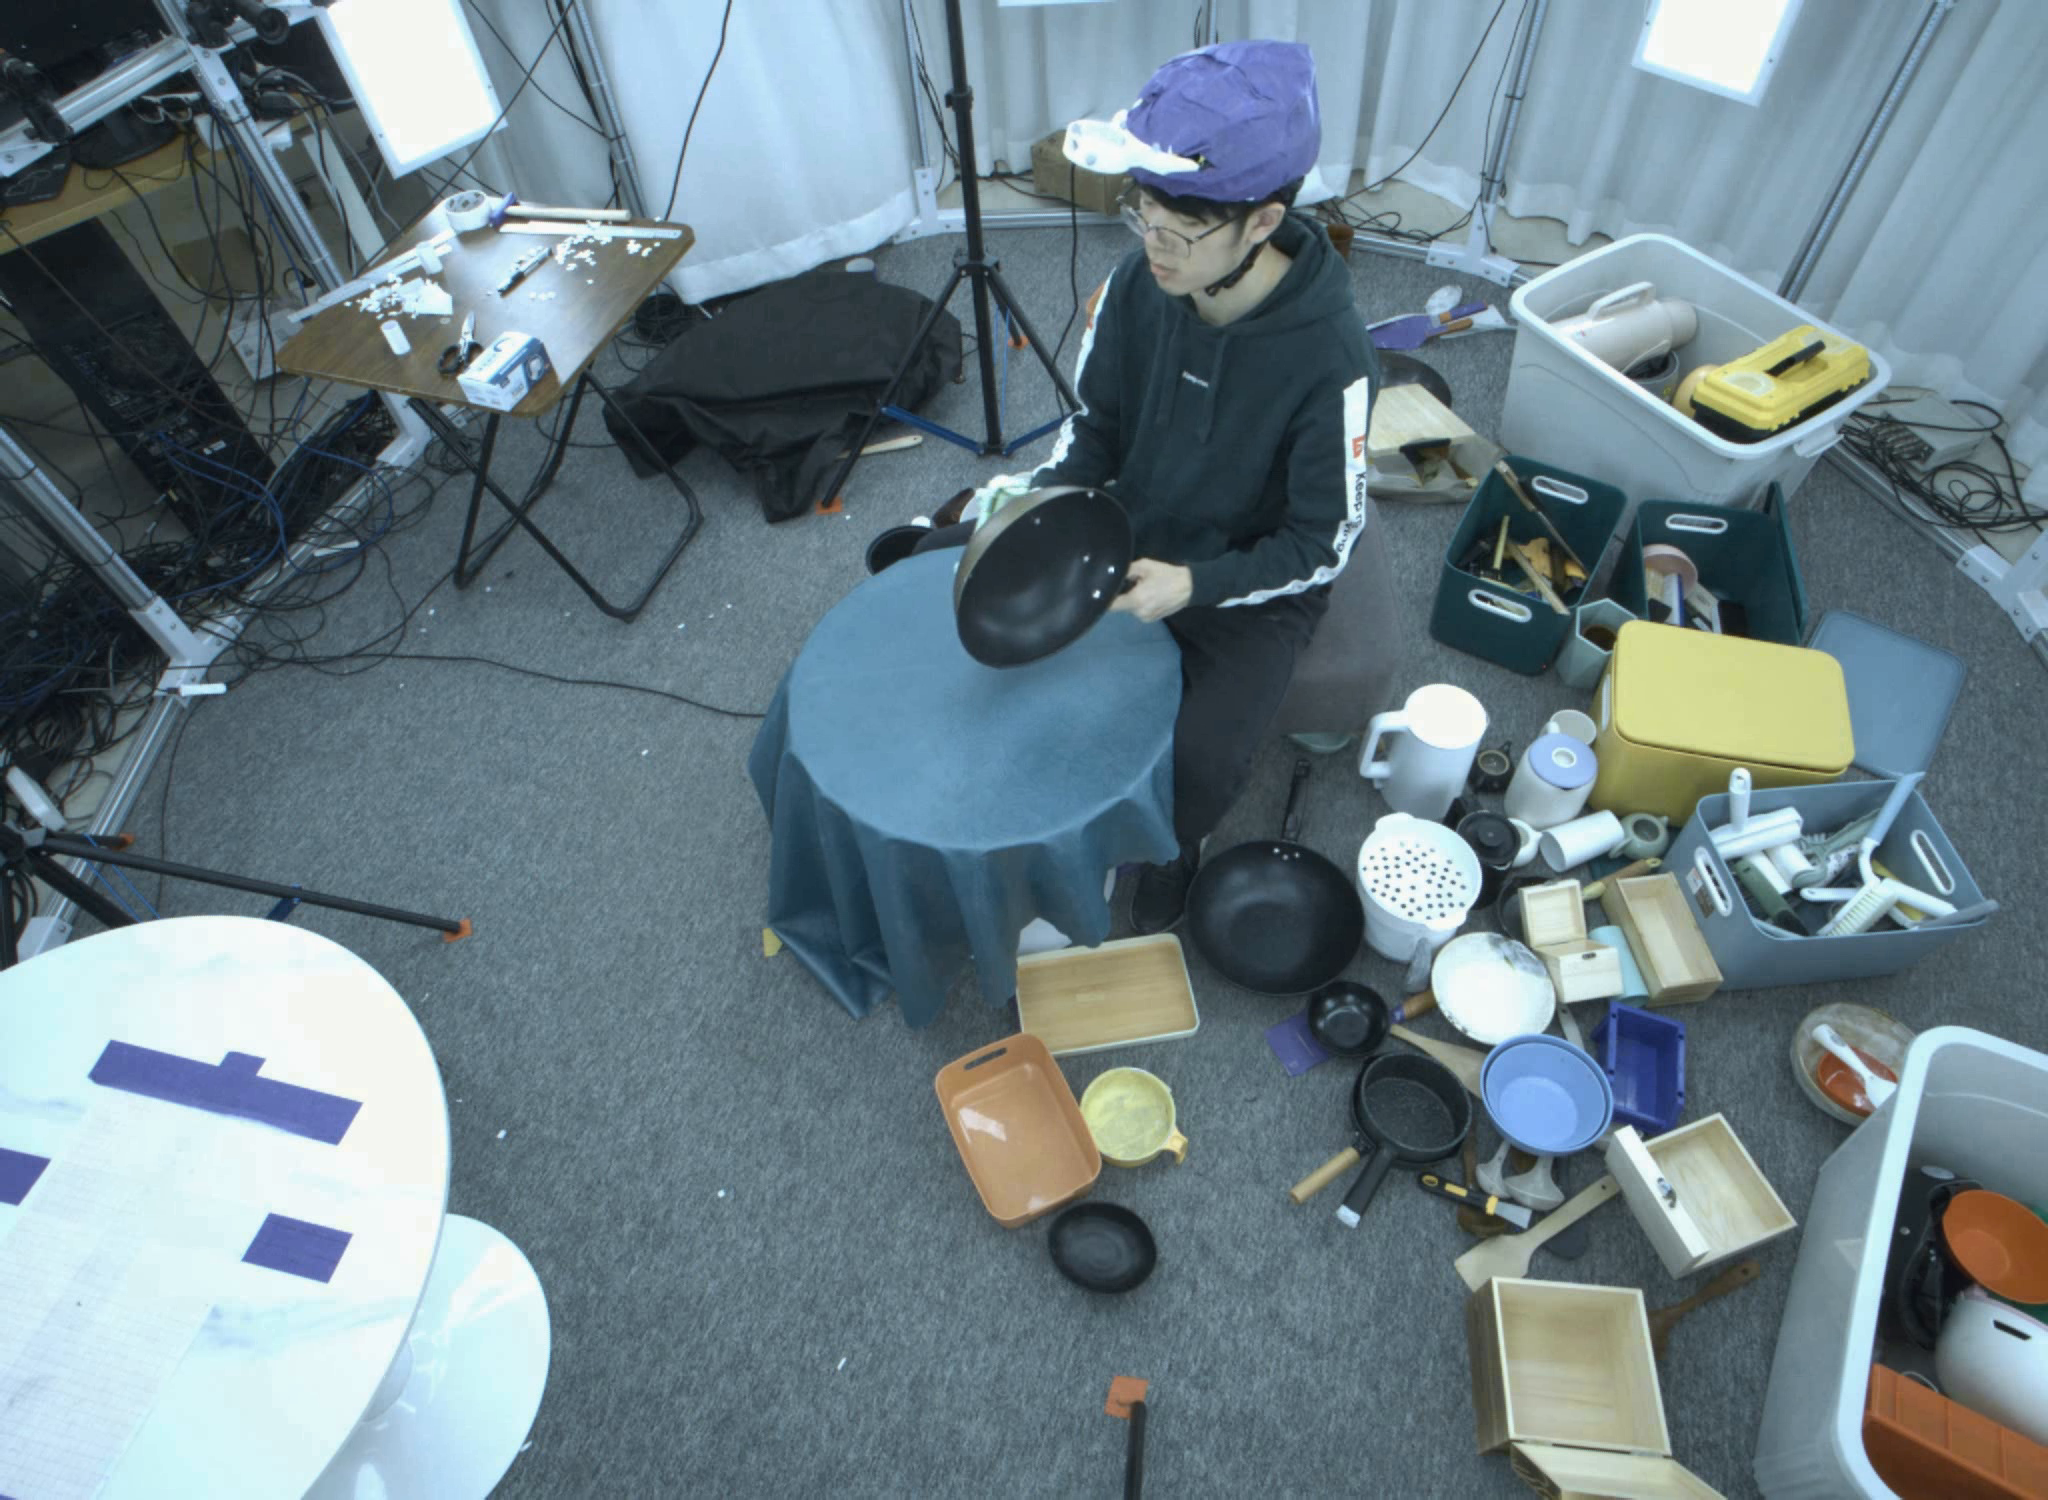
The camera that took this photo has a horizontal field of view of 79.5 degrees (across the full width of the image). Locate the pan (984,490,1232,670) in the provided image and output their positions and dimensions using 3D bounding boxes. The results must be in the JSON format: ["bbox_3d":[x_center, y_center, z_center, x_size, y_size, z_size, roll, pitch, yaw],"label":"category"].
[{"bbox_3d":[0.122,-0.239,1.699,0.473,0.287,0.085,0,42,-43],"label":"pan"}]

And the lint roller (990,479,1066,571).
[{"bbox_3d":[0.017,-0.309,1.767,0.082,0.199,0.184,24,32,9],"label":"lint roller"}]
